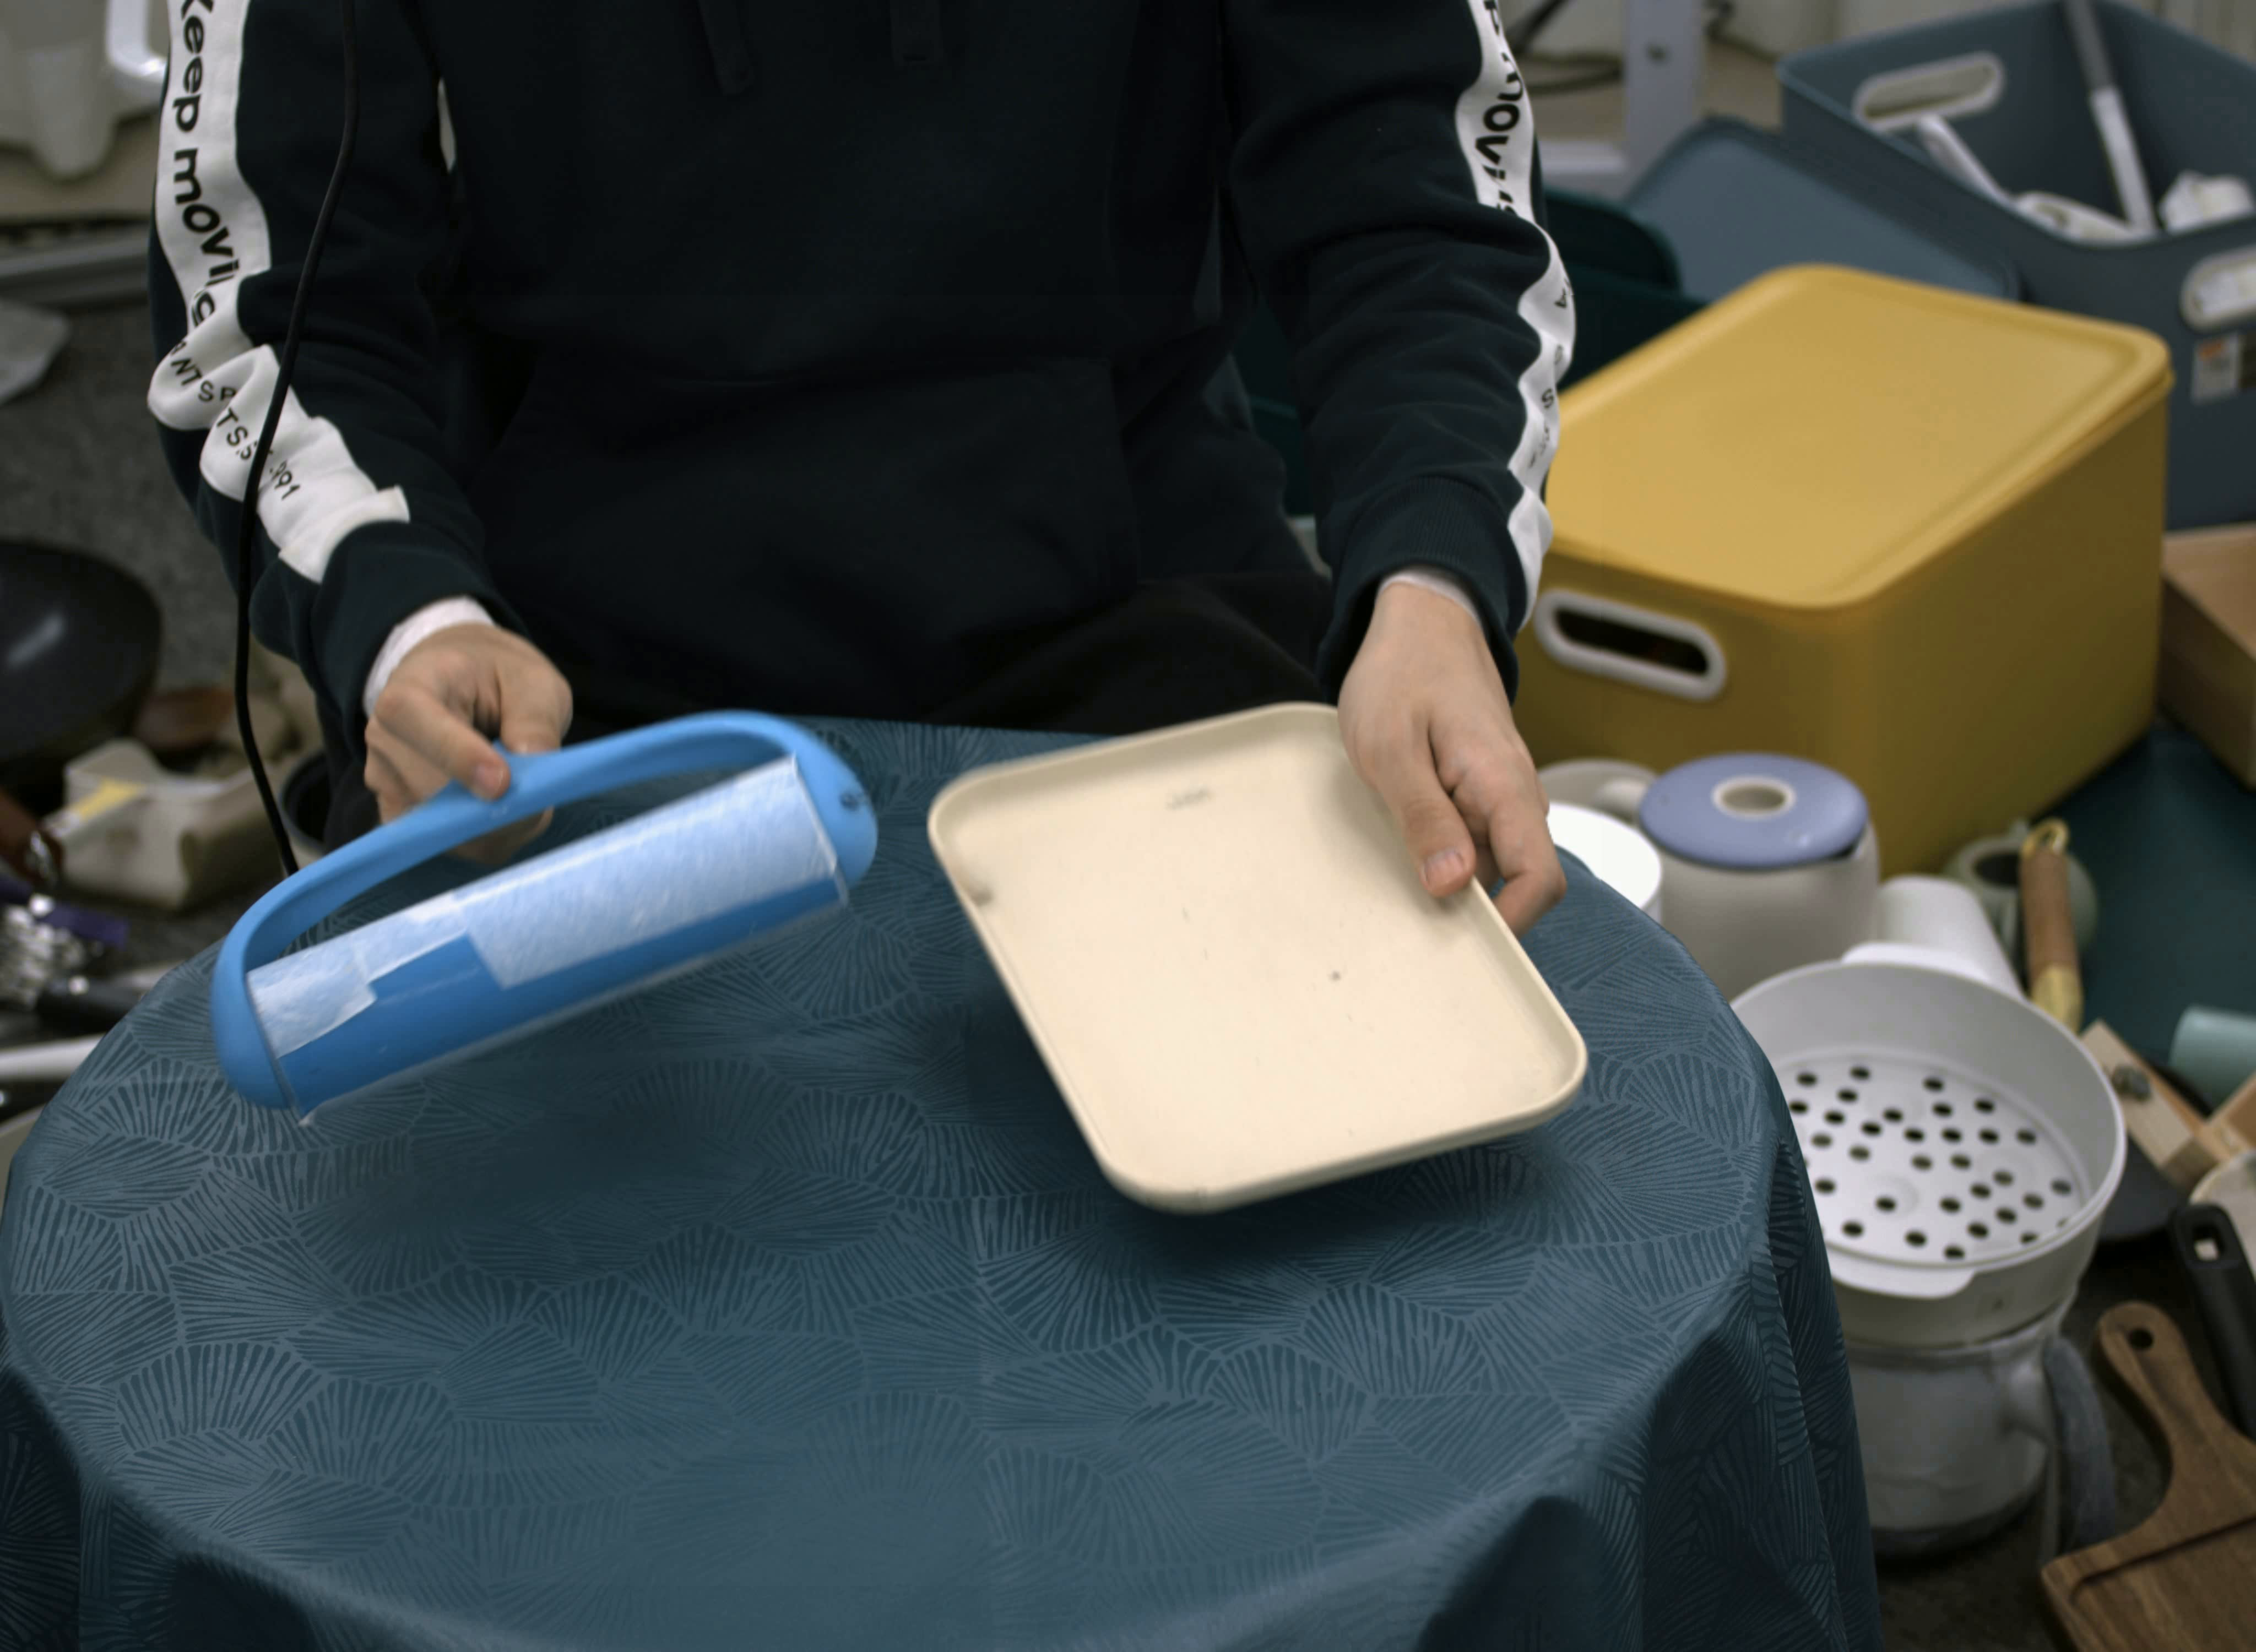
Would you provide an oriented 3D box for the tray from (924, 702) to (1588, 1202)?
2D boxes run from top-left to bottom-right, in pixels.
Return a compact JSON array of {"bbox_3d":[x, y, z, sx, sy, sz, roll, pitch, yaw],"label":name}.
[{"bbox_3d":[0.040,0.041,1.898,0.171,0.017,0.242,-10,38,-17],"label":"tray"}]

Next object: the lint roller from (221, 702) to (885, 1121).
[{"bbox_3d":[-0.206,0.007,1.892,0.229,0.067,0.182,-25,33,-8],"label":"lint roller"}]
